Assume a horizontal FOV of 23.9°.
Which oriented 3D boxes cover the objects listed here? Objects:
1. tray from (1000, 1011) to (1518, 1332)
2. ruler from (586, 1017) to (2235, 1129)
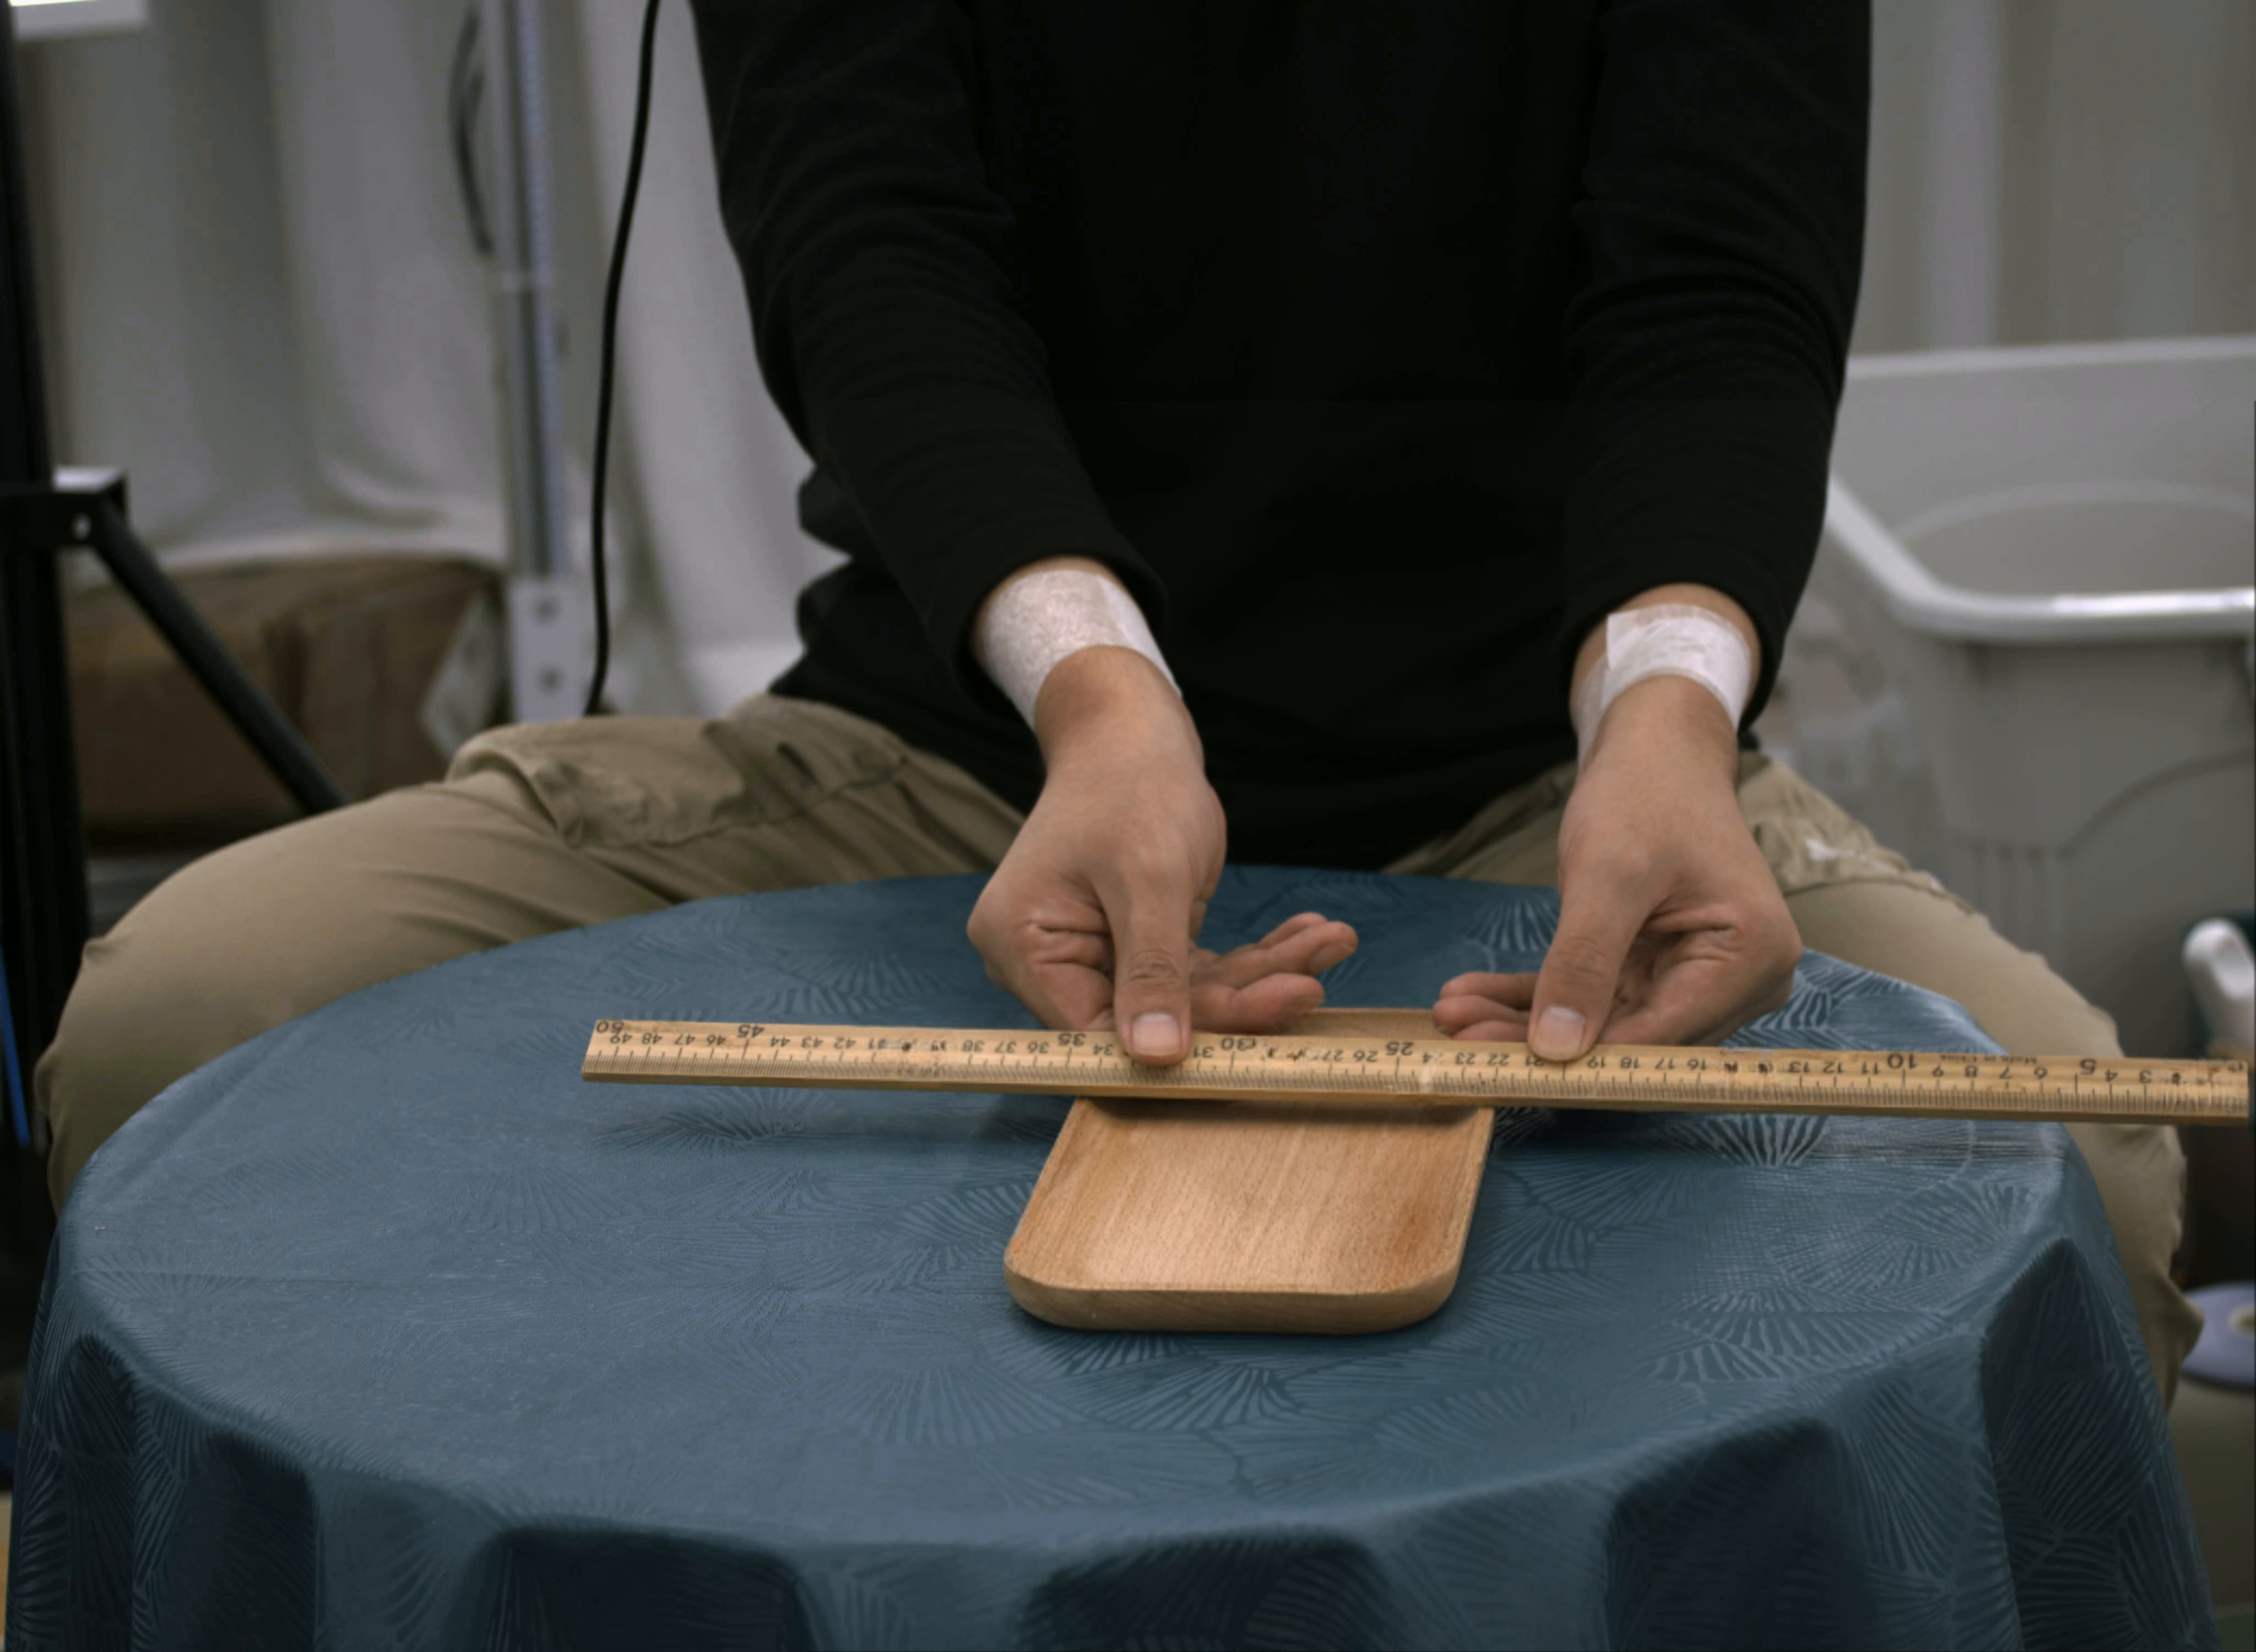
[{"bbox_3d":[0.043,0.098,1.555,0.131,0.023,0.249,2,15,10],"label":"tray"},{"bbox_3d":[0.081,0.074,1.585,0.503,0.006,0.027,2,37,13],"label":"ruler"}]
